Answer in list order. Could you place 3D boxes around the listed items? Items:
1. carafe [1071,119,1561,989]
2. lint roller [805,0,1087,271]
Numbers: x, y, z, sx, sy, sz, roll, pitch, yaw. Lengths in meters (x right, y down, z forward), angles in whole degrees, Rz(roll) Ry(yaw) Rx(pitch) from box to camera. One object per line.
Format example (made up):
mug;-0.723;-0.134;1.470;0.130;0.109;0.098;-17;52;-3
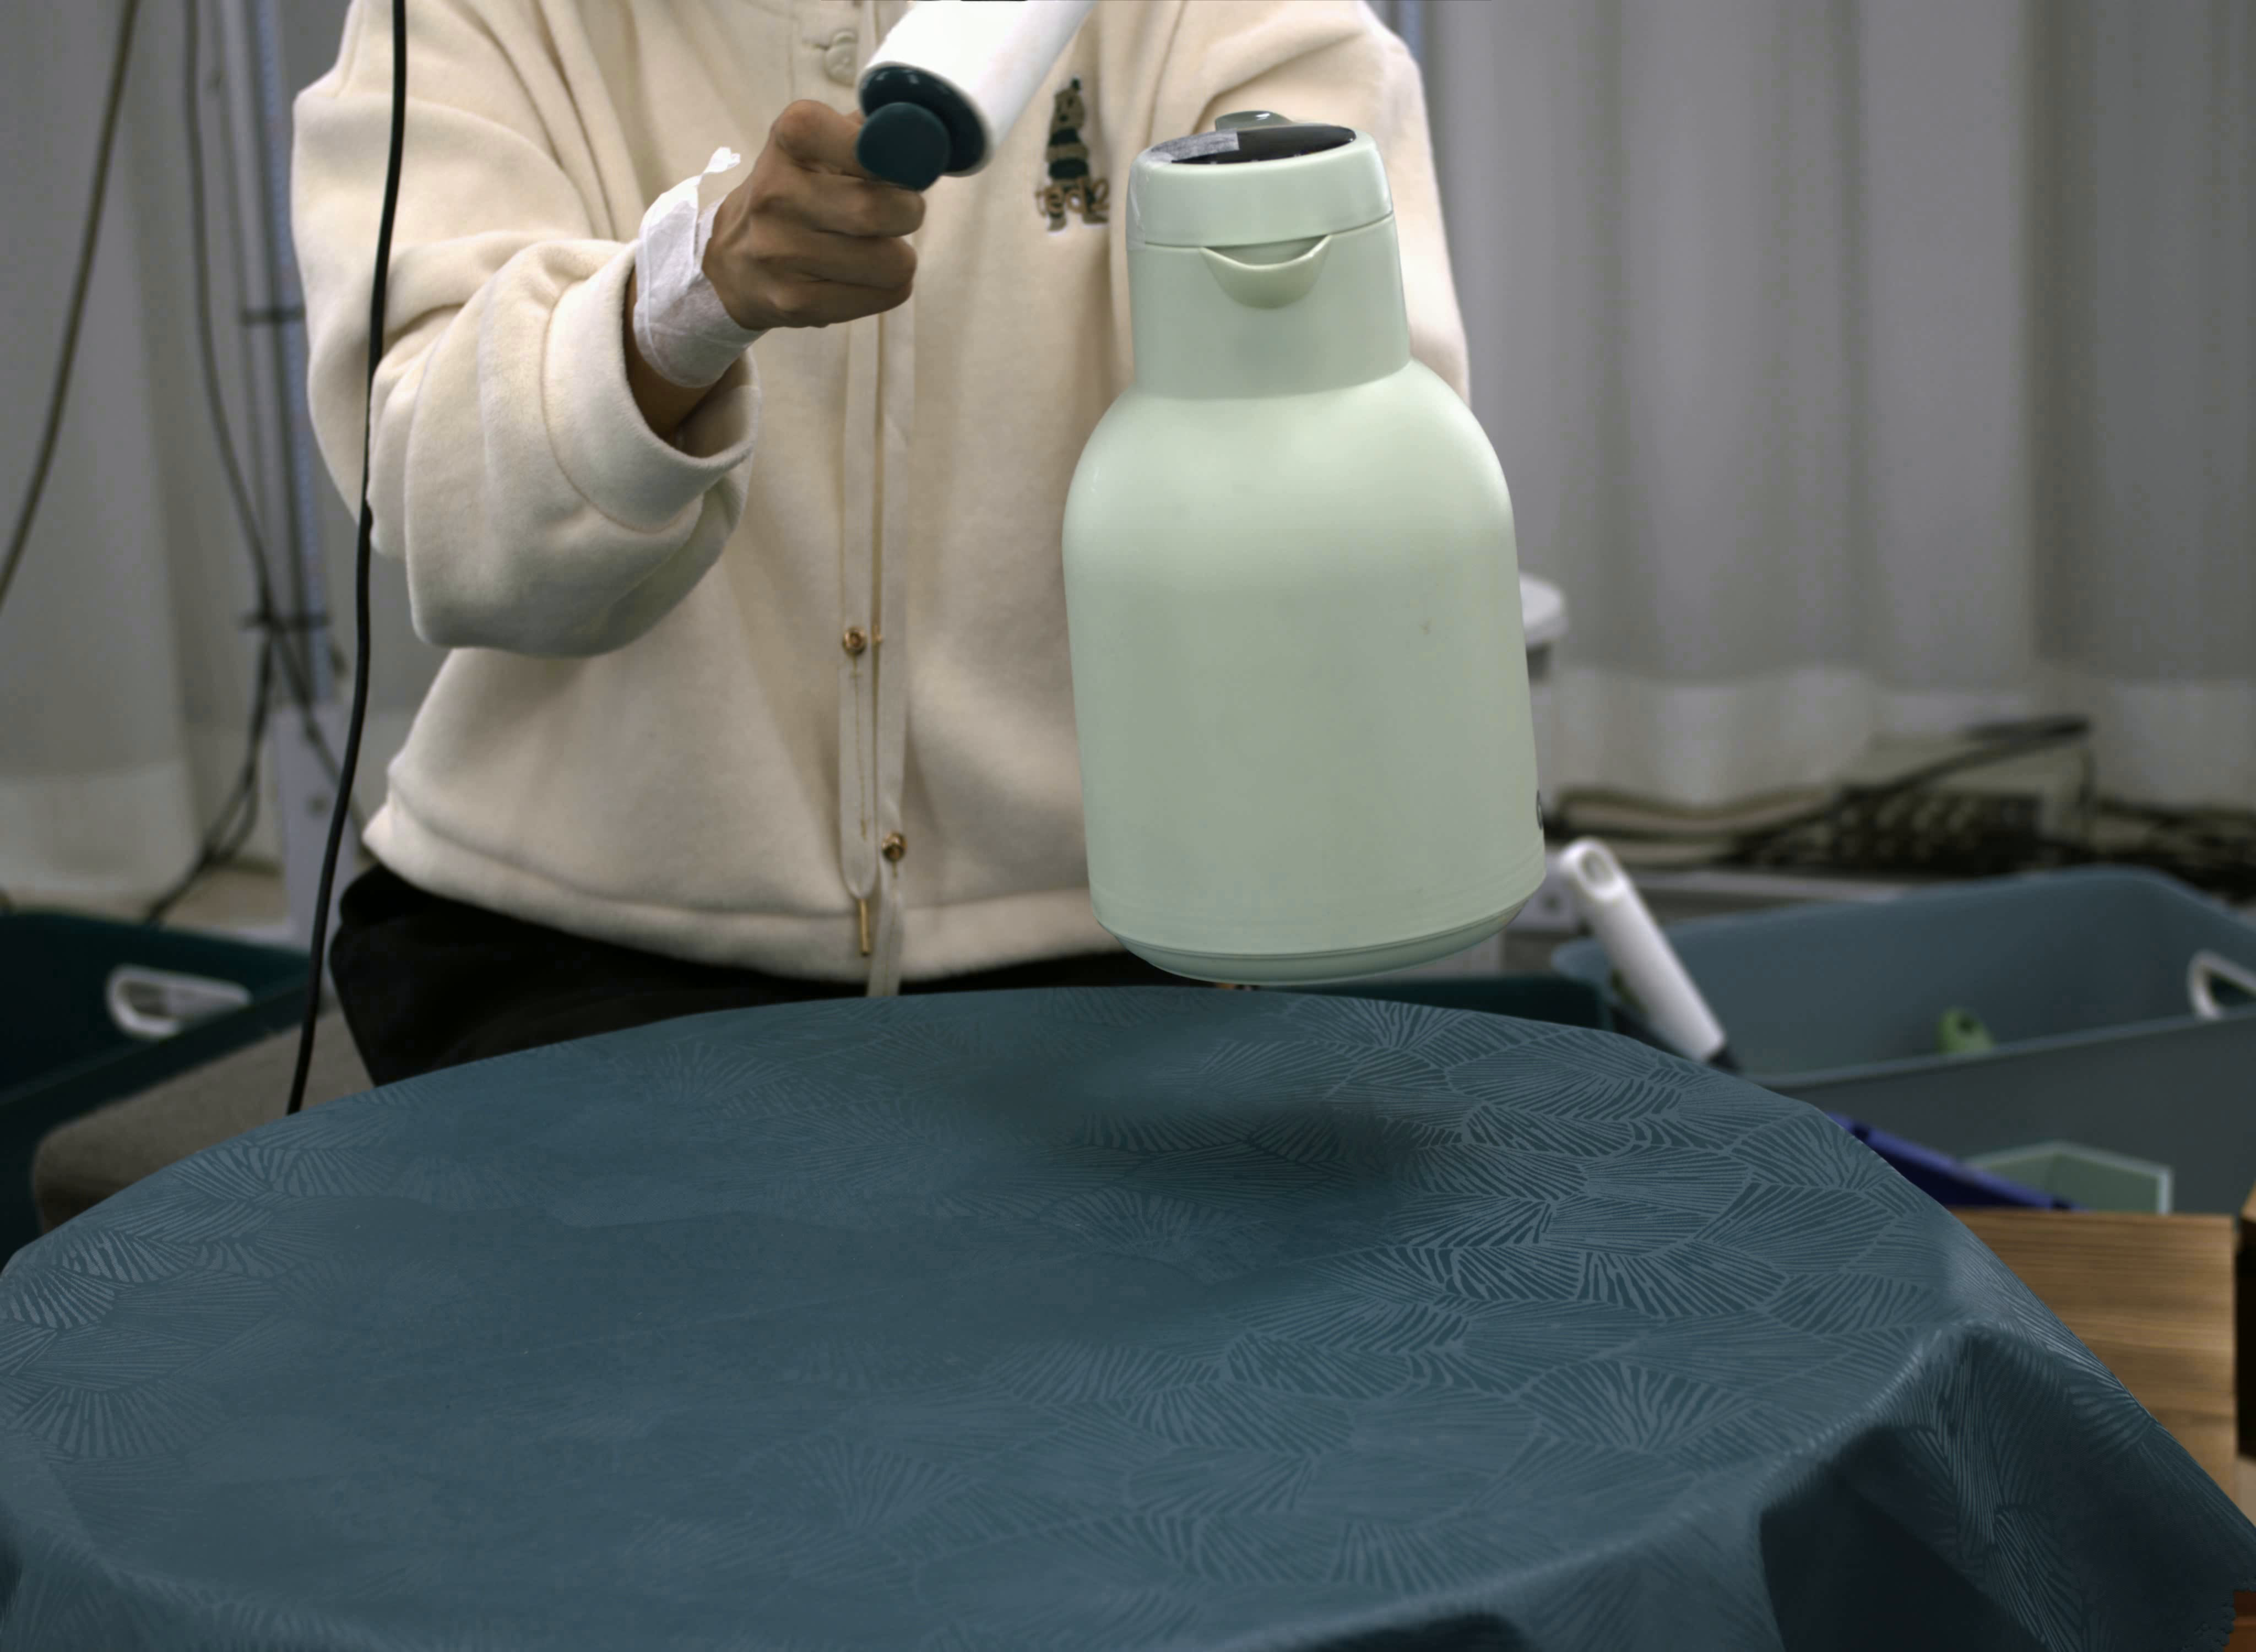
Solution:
carafe;0.052;-0.090;1.718;0.144;0.256;0.188;-7;11;1
lint roller;-0.075;-0.229;1.735;0.179;0.048;0.135;-32;21;56
